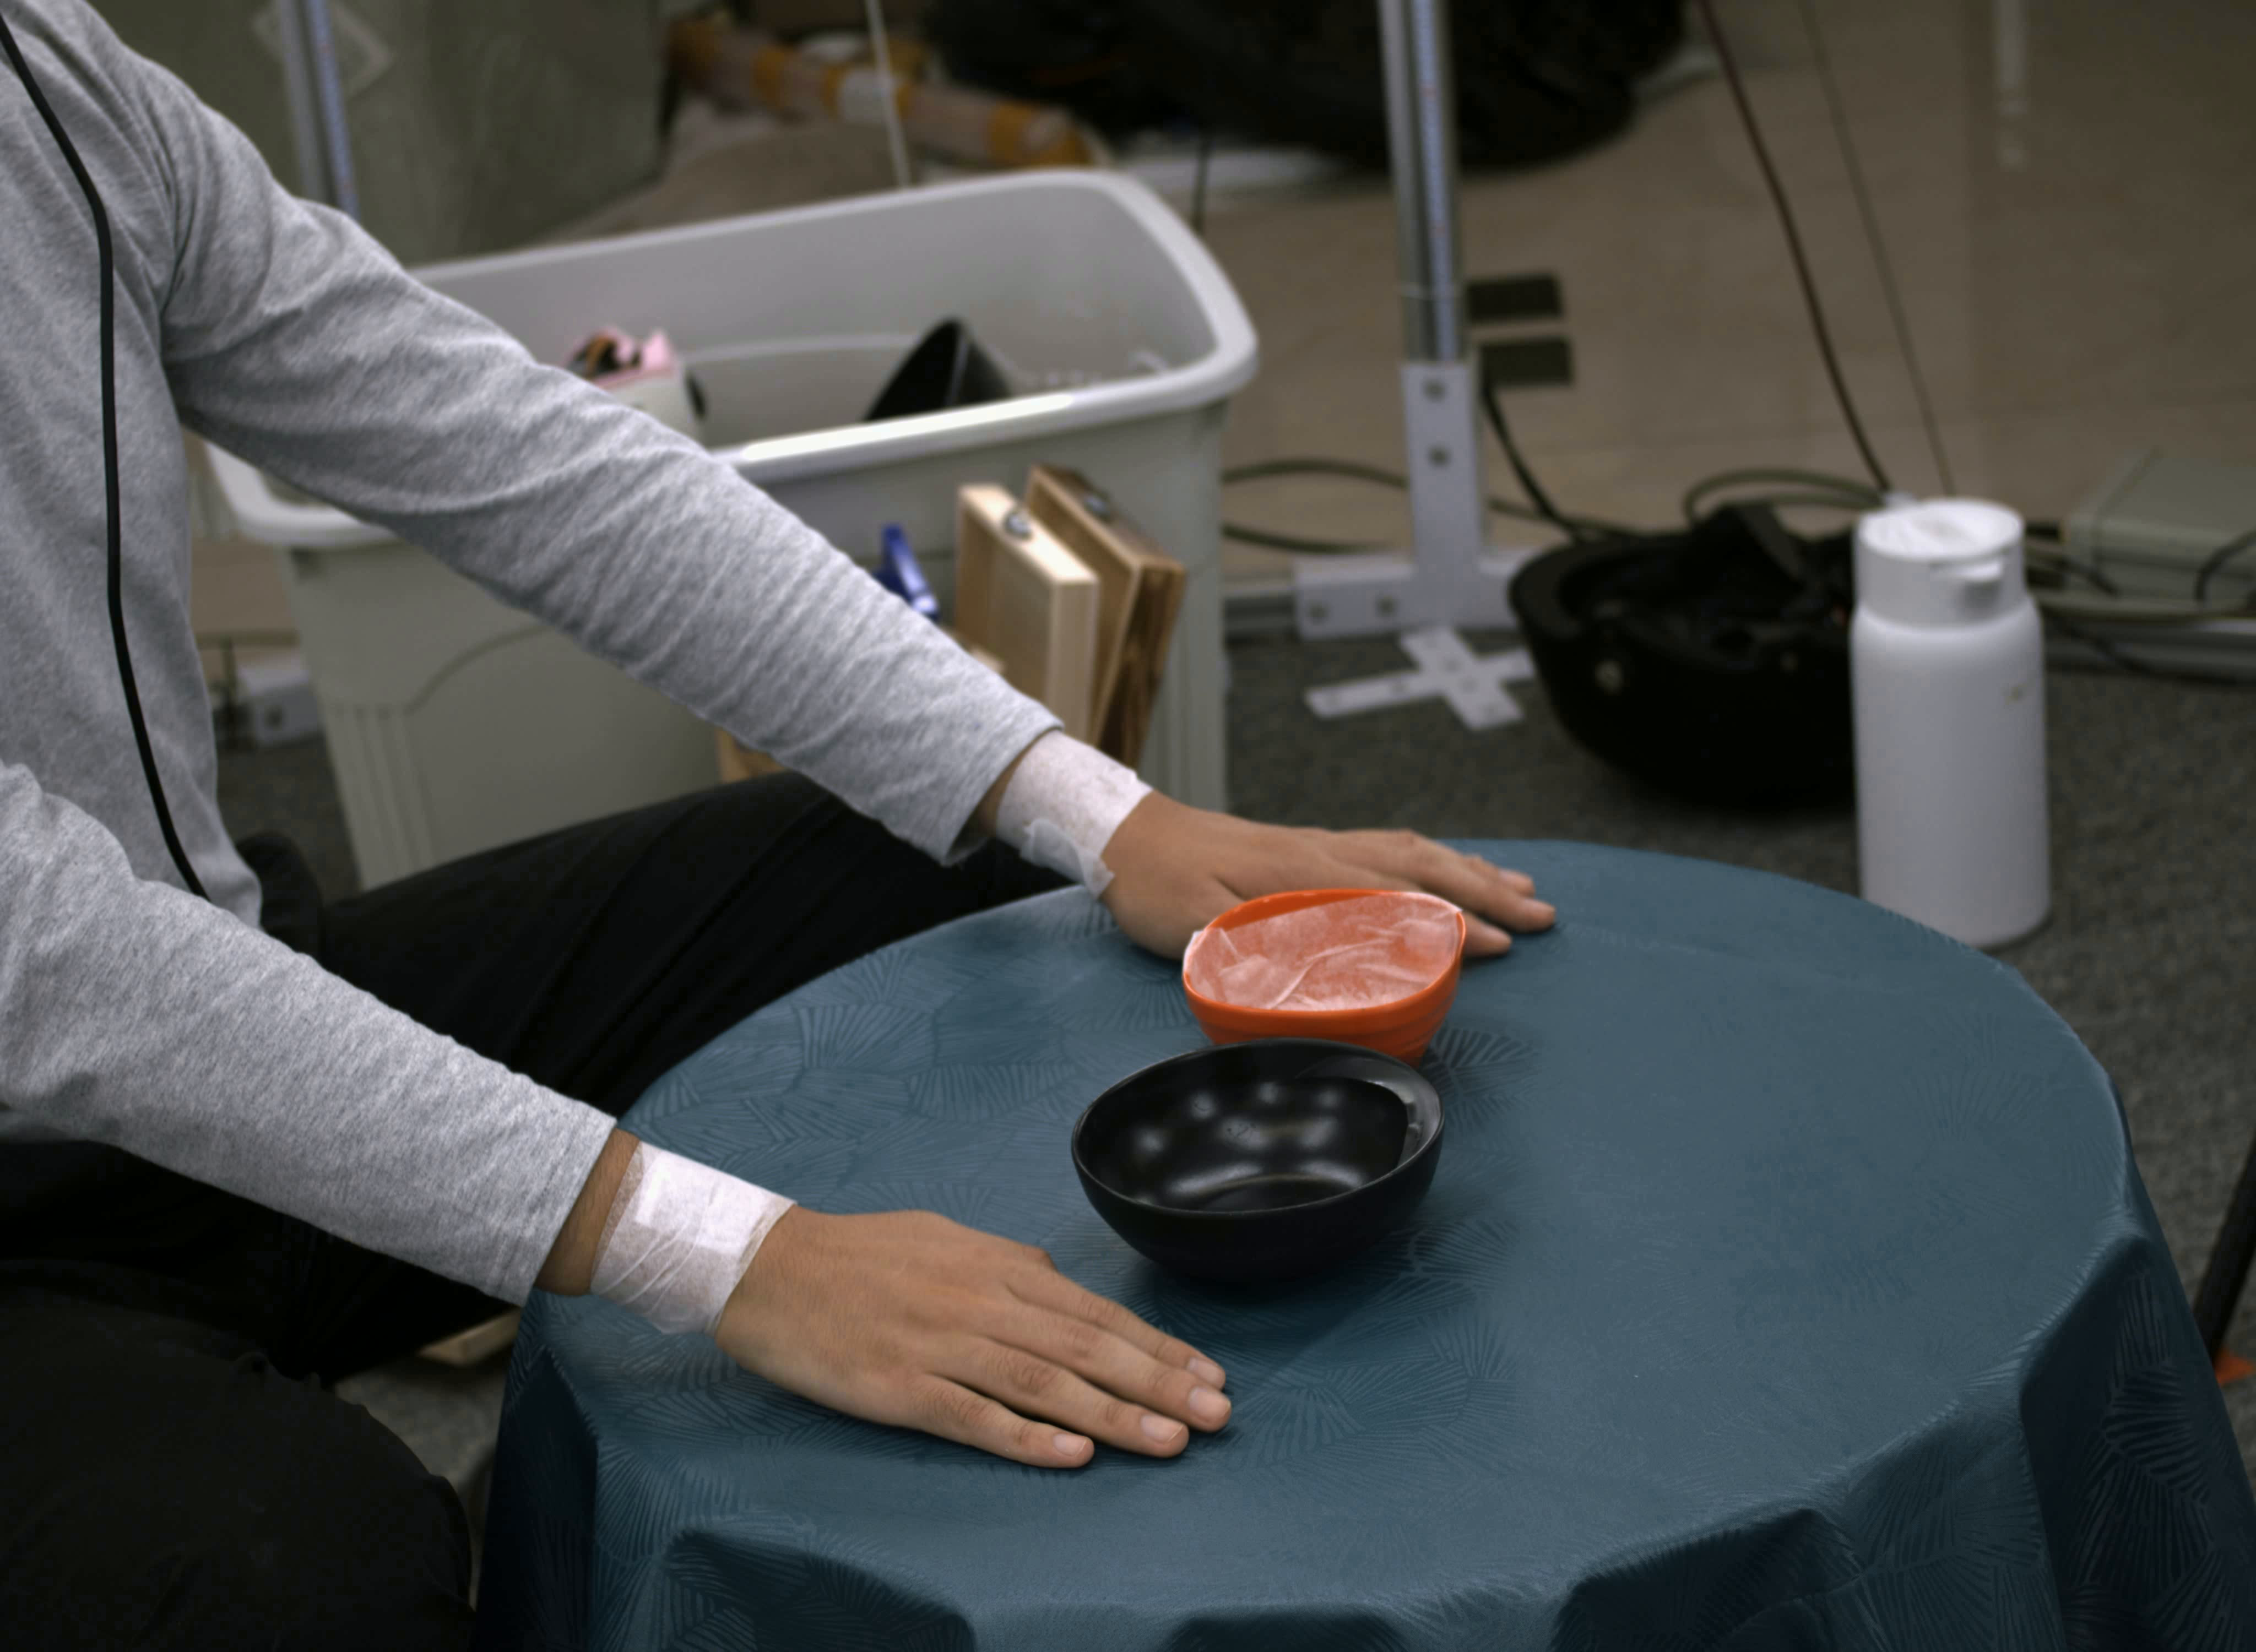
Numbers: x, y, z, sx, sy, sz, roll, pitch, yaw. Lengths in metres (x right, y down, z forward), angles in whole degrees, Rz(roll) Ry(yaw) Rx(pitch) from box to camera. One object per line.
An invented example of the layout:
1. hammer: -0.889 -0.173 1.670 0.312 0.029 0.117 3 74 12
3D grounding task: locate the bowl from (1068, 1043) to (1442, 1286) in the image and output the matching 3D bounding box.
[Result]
1. bowl: 0.049 0.132 2.096 0.140 0.050 0.138 -6 23 3

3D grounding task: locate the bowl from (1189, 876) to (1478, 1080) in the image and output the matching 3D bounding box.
1. bowl: 0.081 0.067 2.220 0.119 0.052 0.117 -3 27 1
